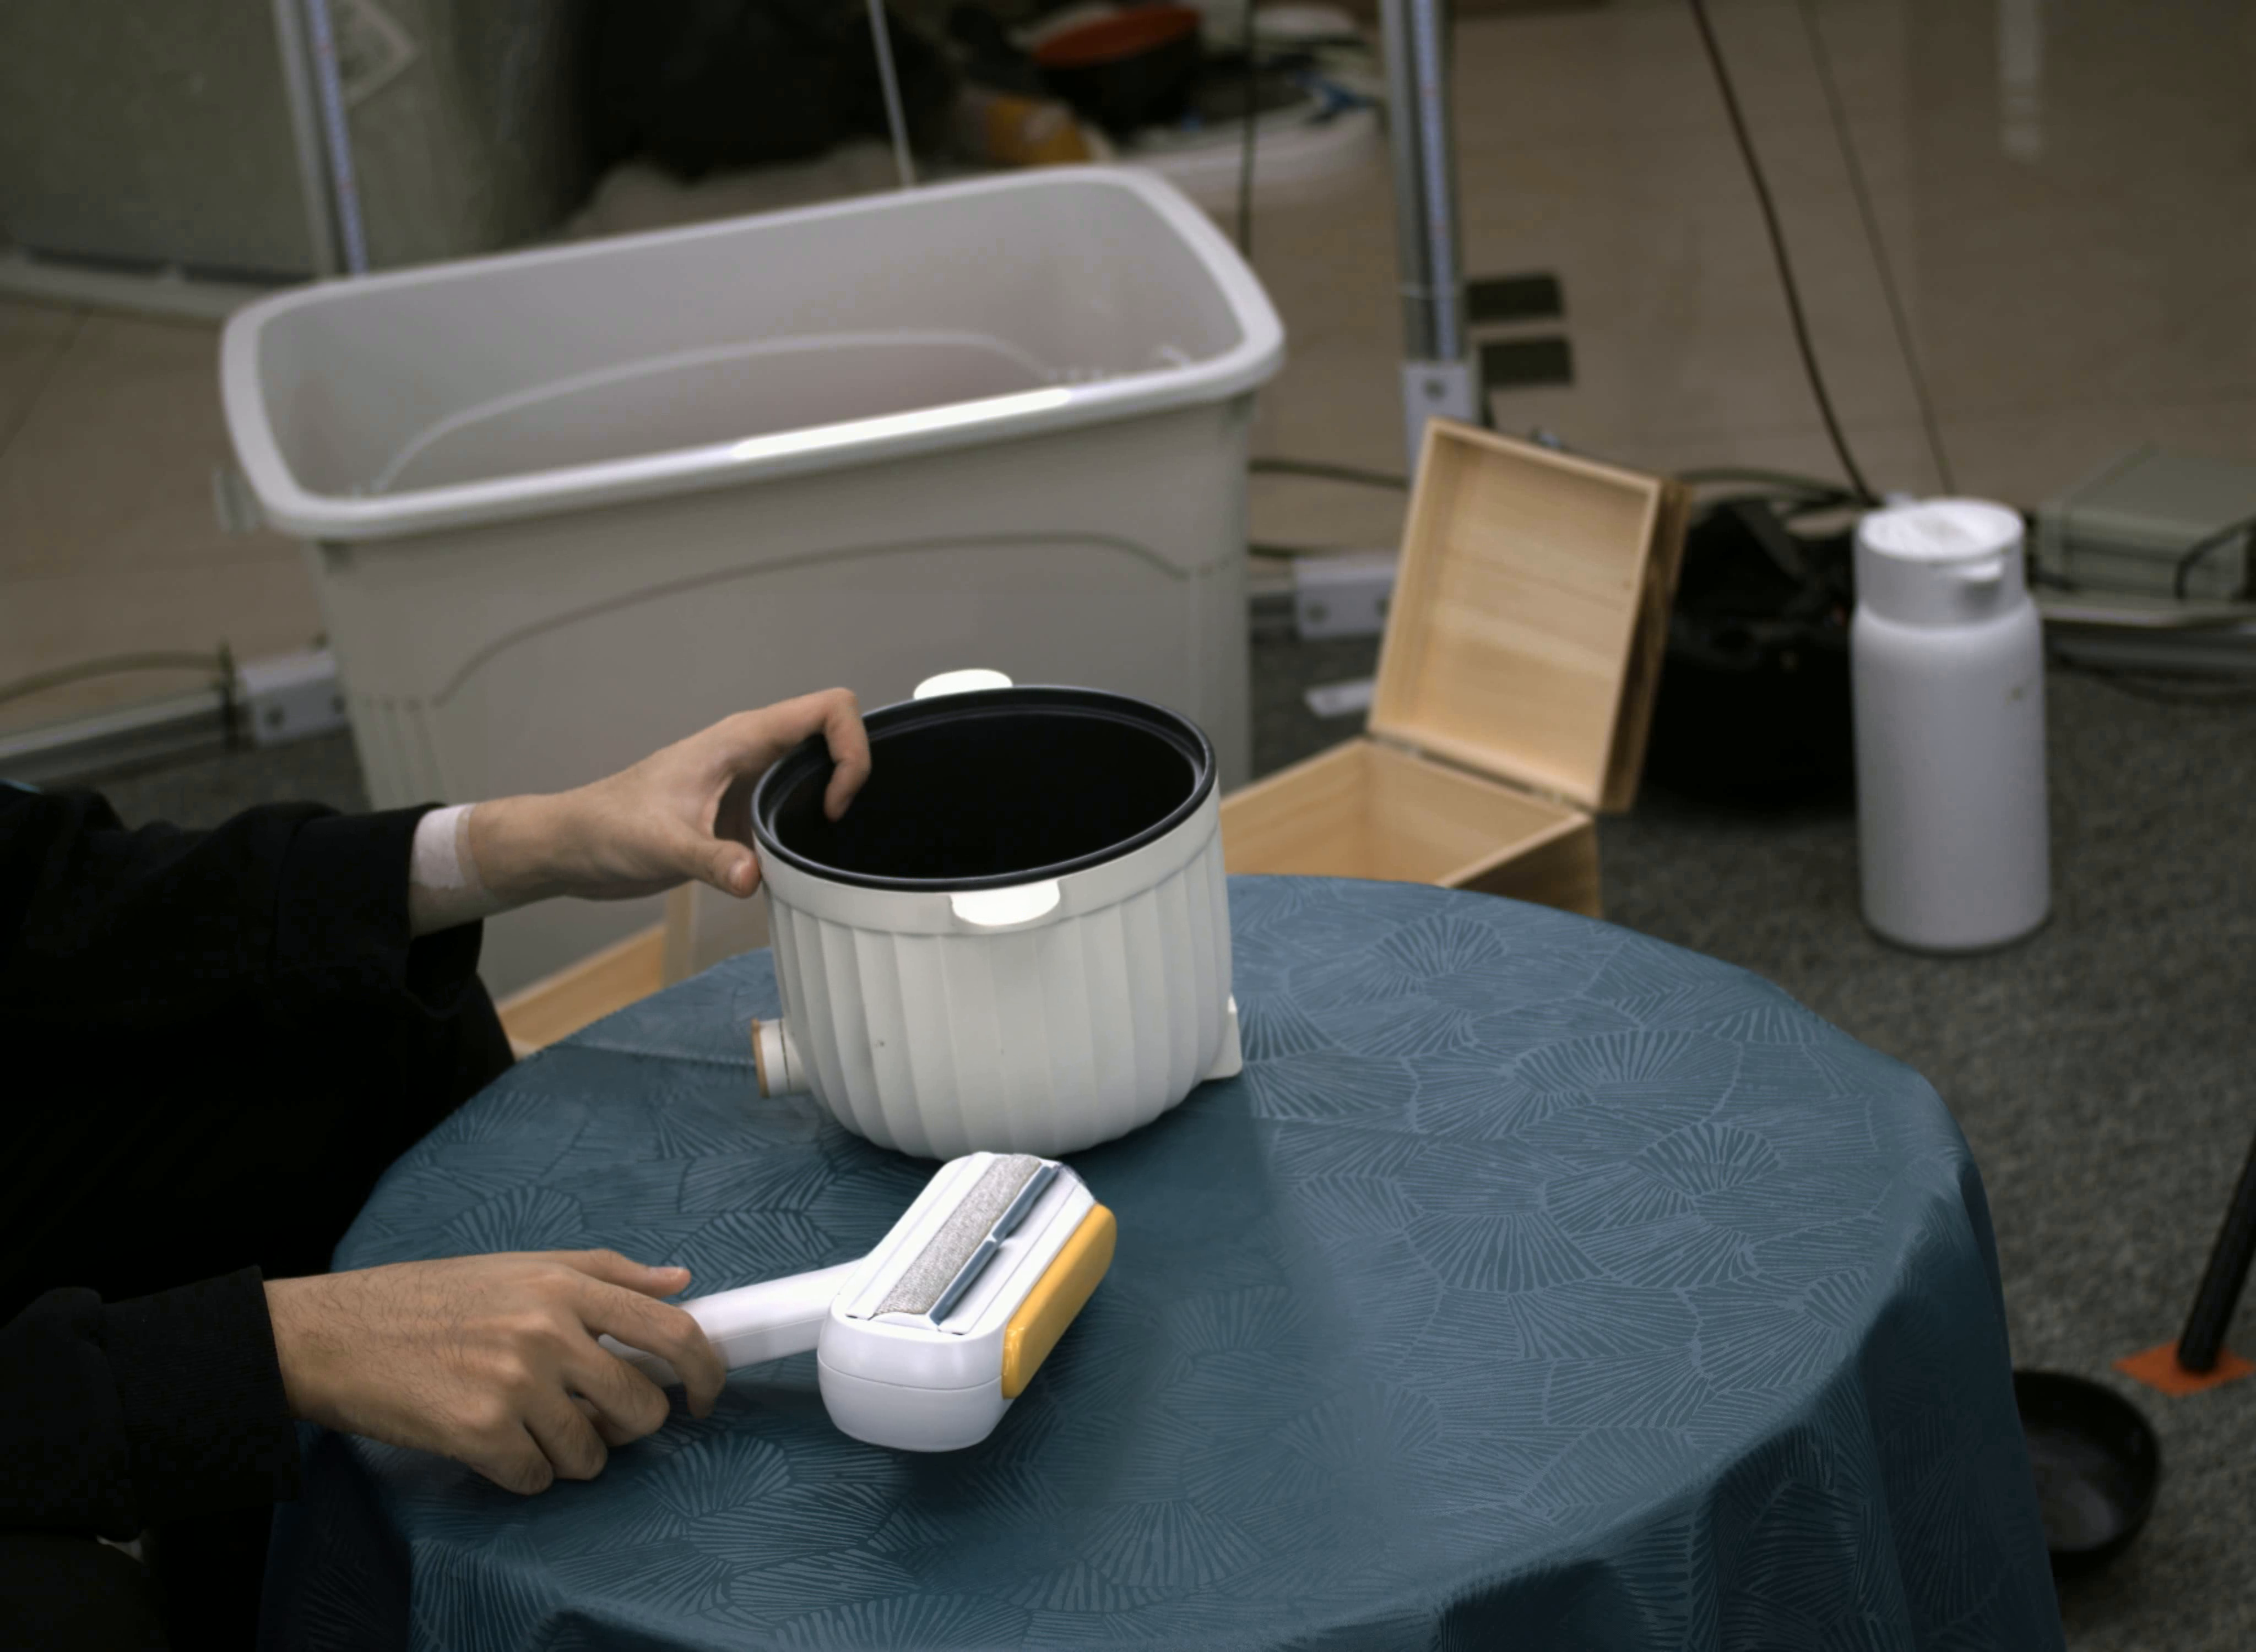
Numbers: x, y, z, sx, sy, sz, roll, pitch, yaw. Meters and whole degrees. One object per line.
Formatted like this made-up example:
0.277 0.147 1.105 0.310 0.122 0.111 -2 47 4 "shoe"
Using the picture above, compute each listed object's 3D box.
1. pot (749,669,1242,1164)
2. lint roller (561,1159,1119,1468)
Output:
-0.055 0.043 2.195 0.190 0.145 0.237 -6 24 -5 "pot"
-0.114 0.174 2.014 0.192 0.075 0.190 1 21 18 "lint roller"
